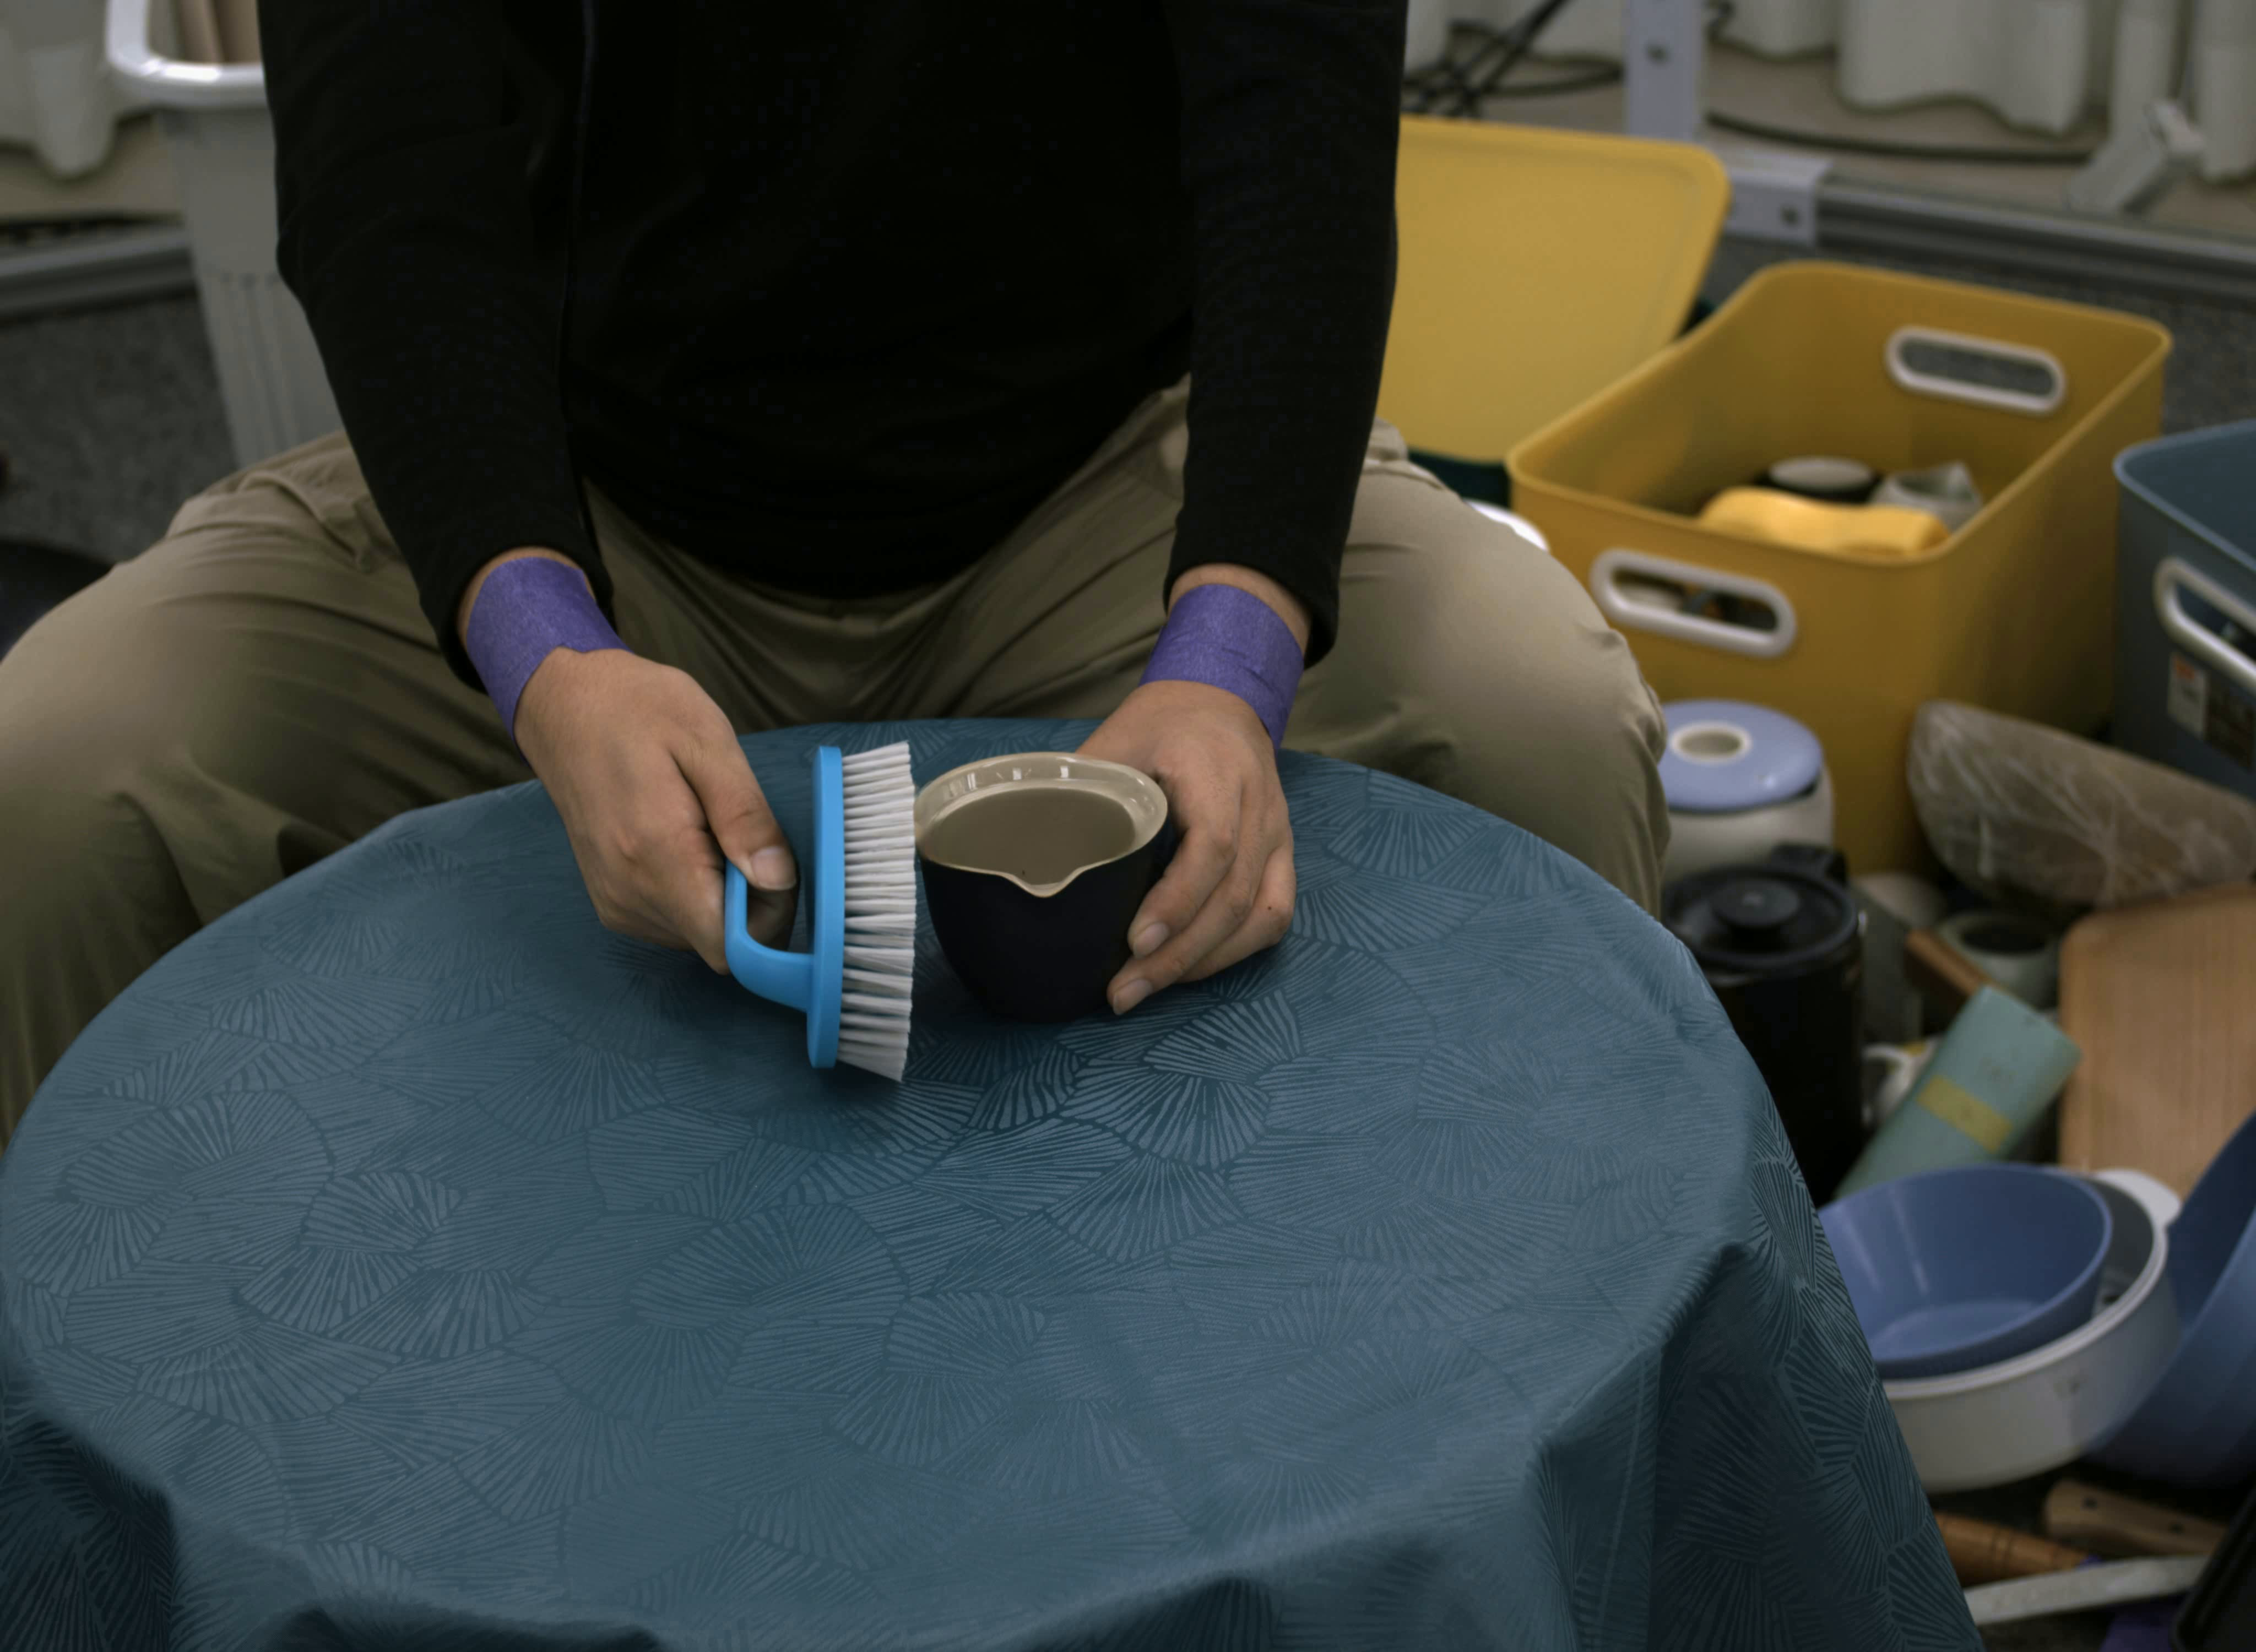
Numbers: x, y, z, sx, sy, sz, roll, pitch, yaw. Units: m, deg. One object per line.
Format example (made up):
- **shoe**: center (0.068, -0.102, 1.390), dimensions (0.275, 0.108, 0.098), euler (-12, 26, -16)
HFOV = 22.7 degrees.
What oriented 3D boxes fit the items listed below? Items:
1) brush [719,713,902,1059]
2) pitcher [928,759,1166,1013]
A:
- **brush**: center (-0.110, 0.023, 1.952), dimensions (0.063, 0.083, 0.144), euler (1, 39, -4)
- **pitcher**: center (-0.028, 0.025, 1.969), dimensions (0.083, 0.070, 0.097), euler (-1, 28, 2)
